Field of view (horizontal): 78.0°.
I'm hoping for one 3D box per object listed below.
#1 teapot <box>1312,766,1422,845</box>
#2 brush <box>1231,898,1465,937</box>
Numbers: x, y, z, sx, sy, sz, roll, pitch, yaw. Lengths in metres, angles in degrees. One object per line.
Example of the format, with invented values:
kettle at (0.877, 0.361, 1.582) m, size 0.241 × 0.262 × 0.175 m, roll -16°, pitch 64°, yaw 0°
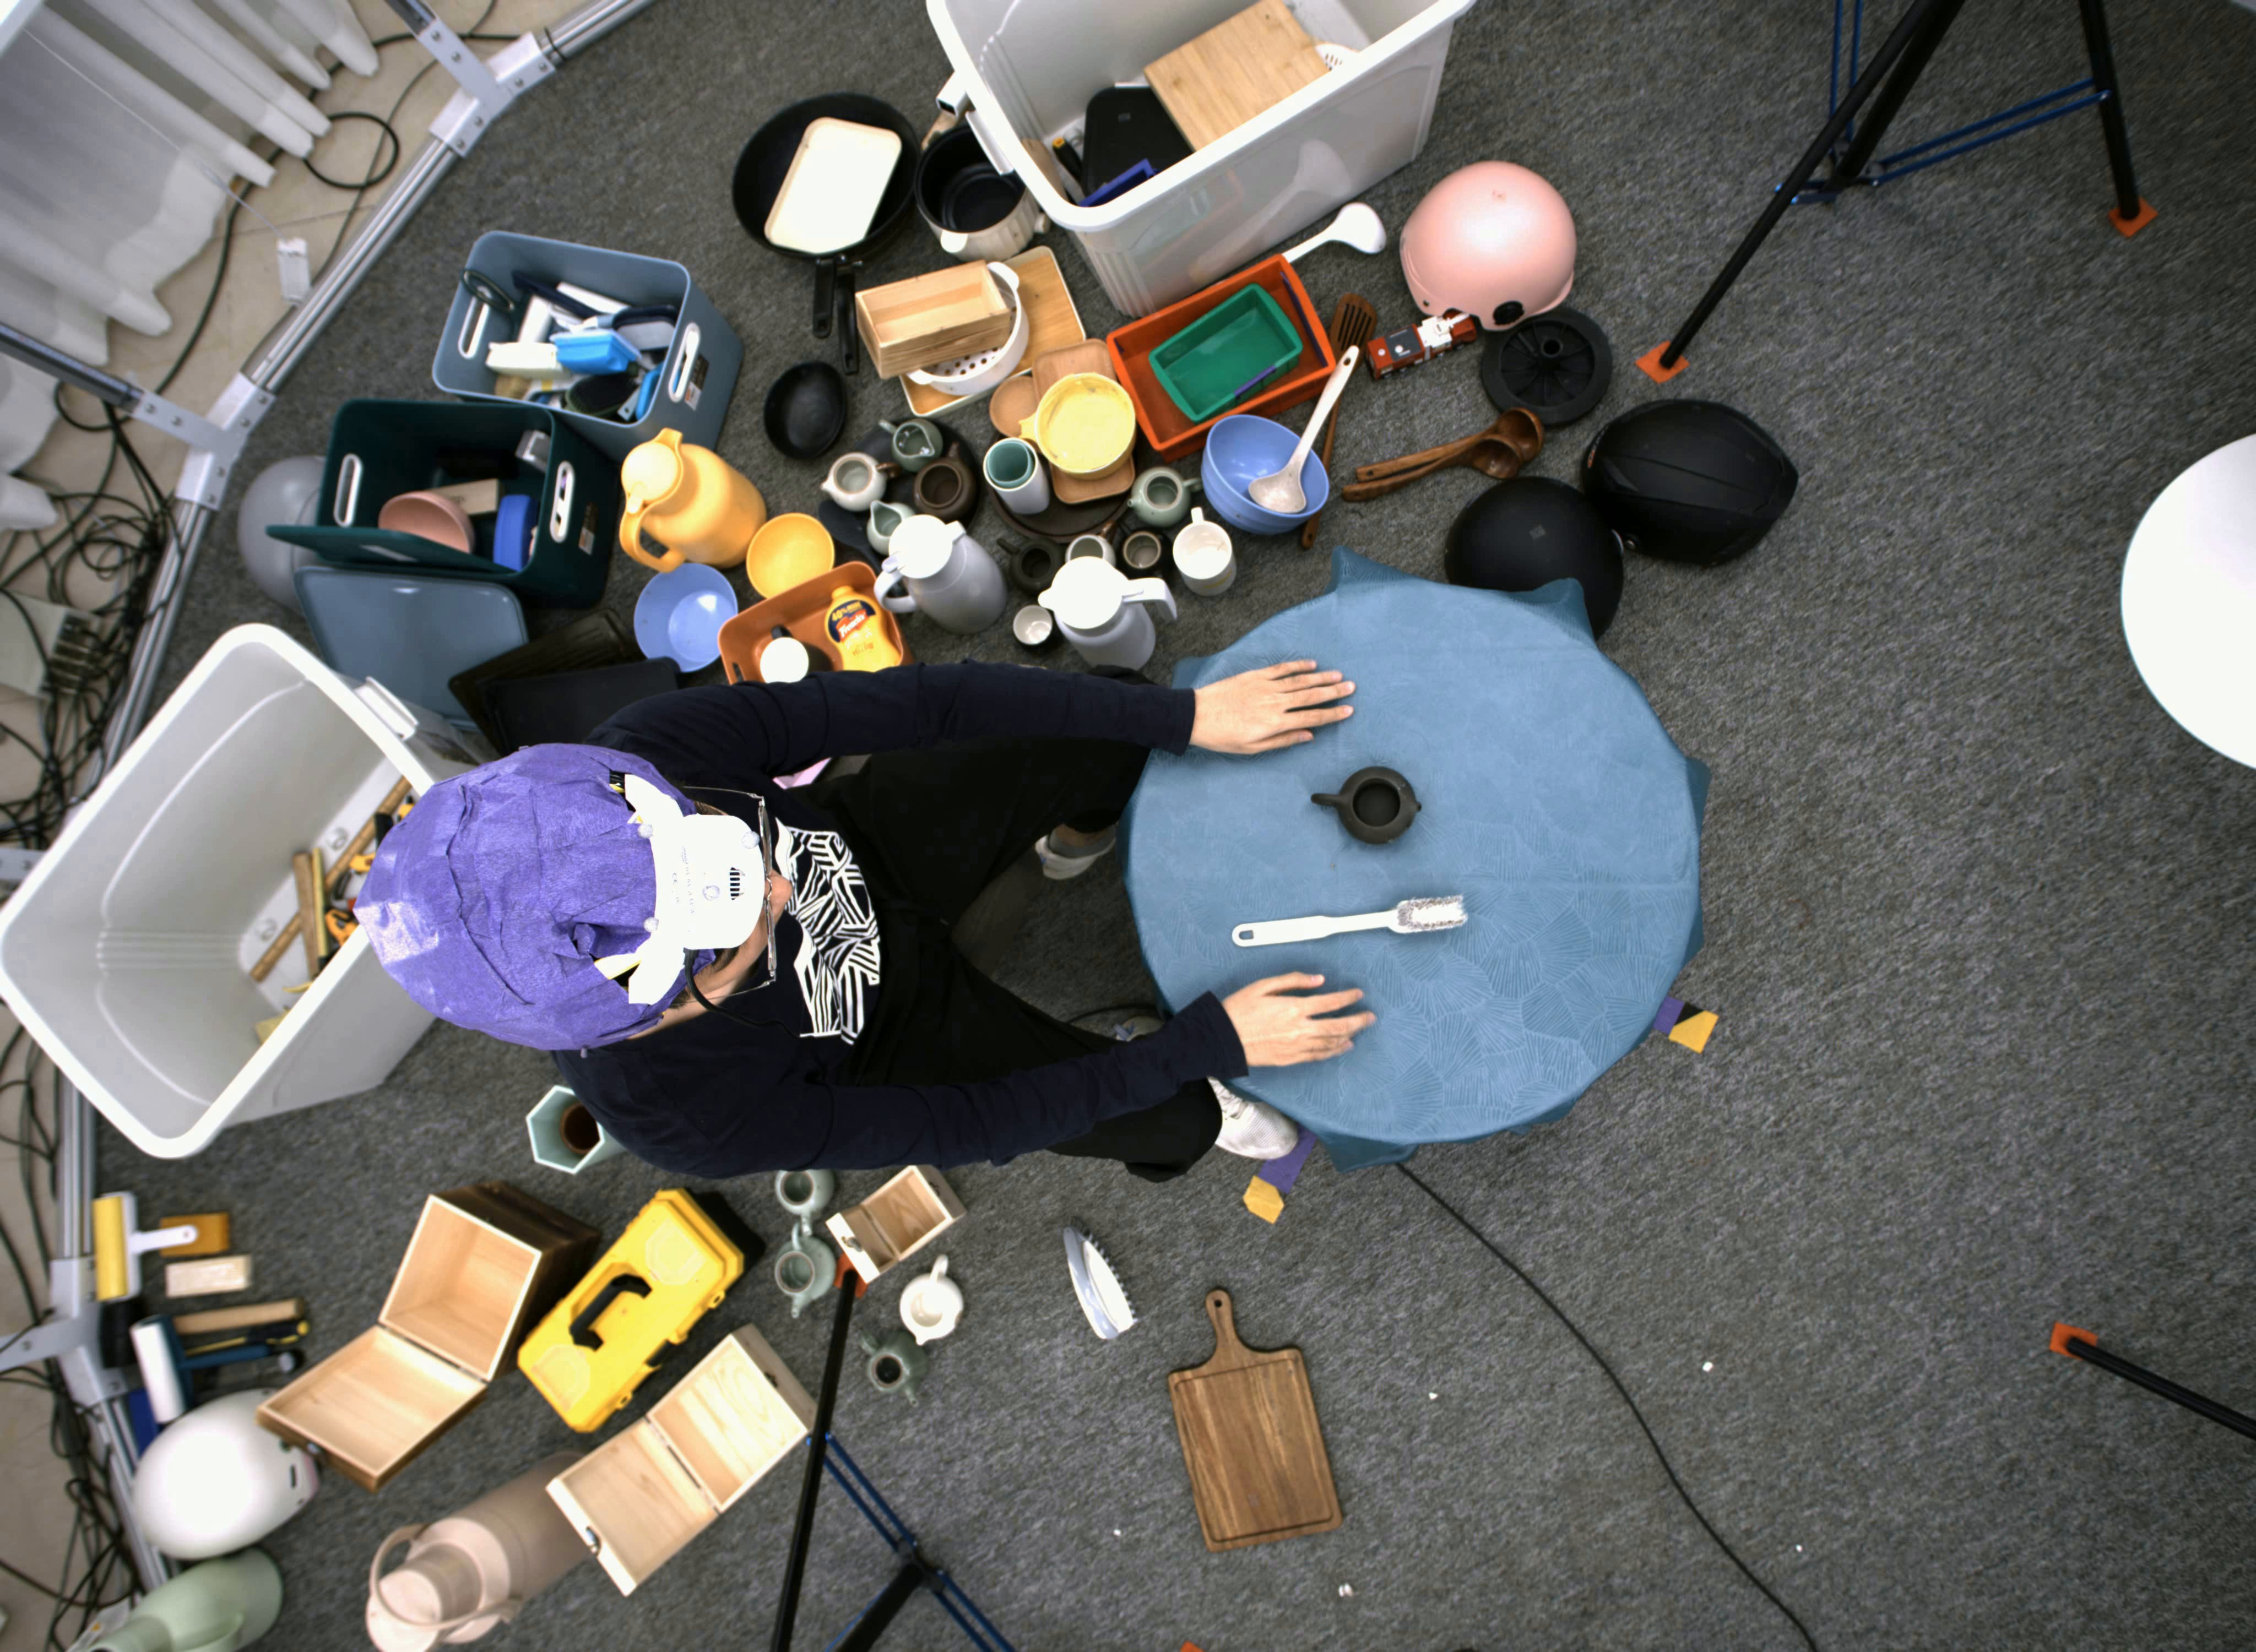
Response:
teapot at (0.249, -0.025, 1.442) m, size 0.114 × 0.053 × 0.083 m, roll 7°, pitch 88°, yaw 10°
brush at (0.227, 0.097, 1.442) m, size 0.245 × 0.050 × 0.034 m, roll -4°, pitch 88°, yaw 10°
